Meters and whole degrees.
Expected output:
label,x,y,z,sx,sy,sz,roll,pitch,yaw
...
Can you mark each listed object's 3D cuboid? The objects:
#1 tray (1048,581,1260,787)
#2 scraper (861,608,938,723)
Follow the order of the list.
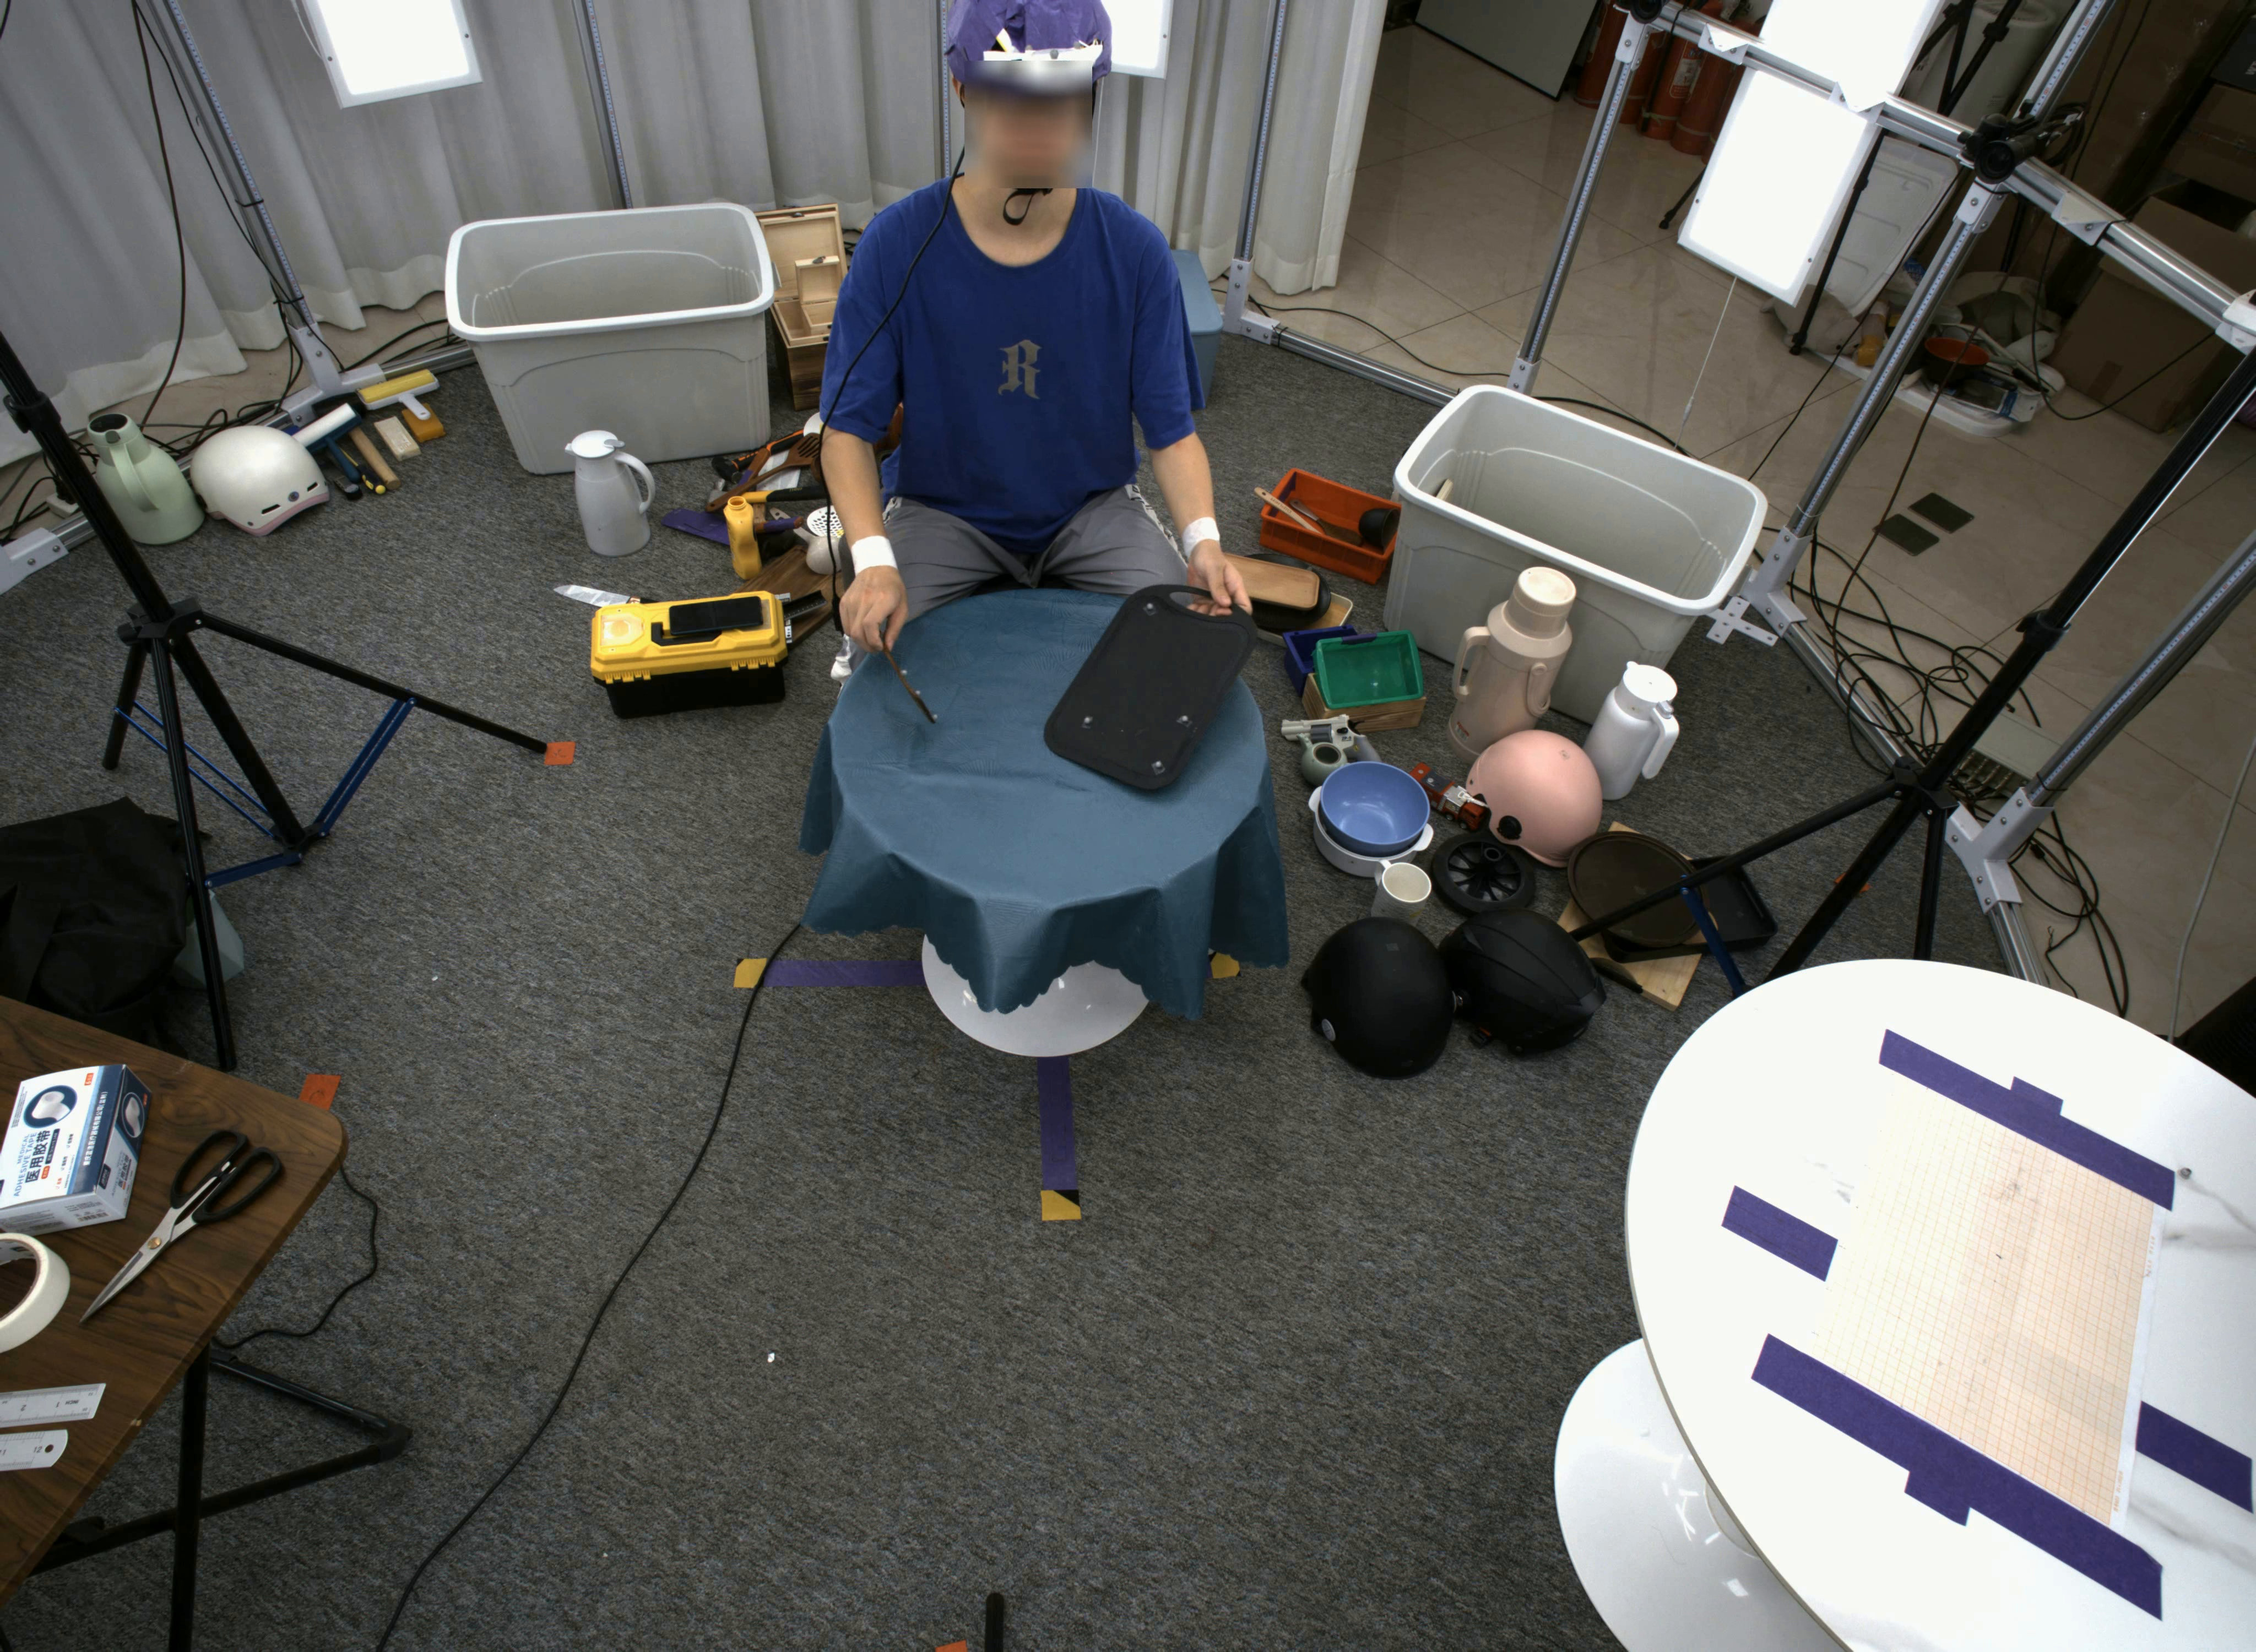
label,x,y,z,sx,sy,sz,roll,pitch,yaw
tray,0.040,-0.210,1.785,0.213,0.009,0.329,23,68,22
scraper,-0.319,-0.225,1.768,0.011,0.074,0.215,-33,60,-1
